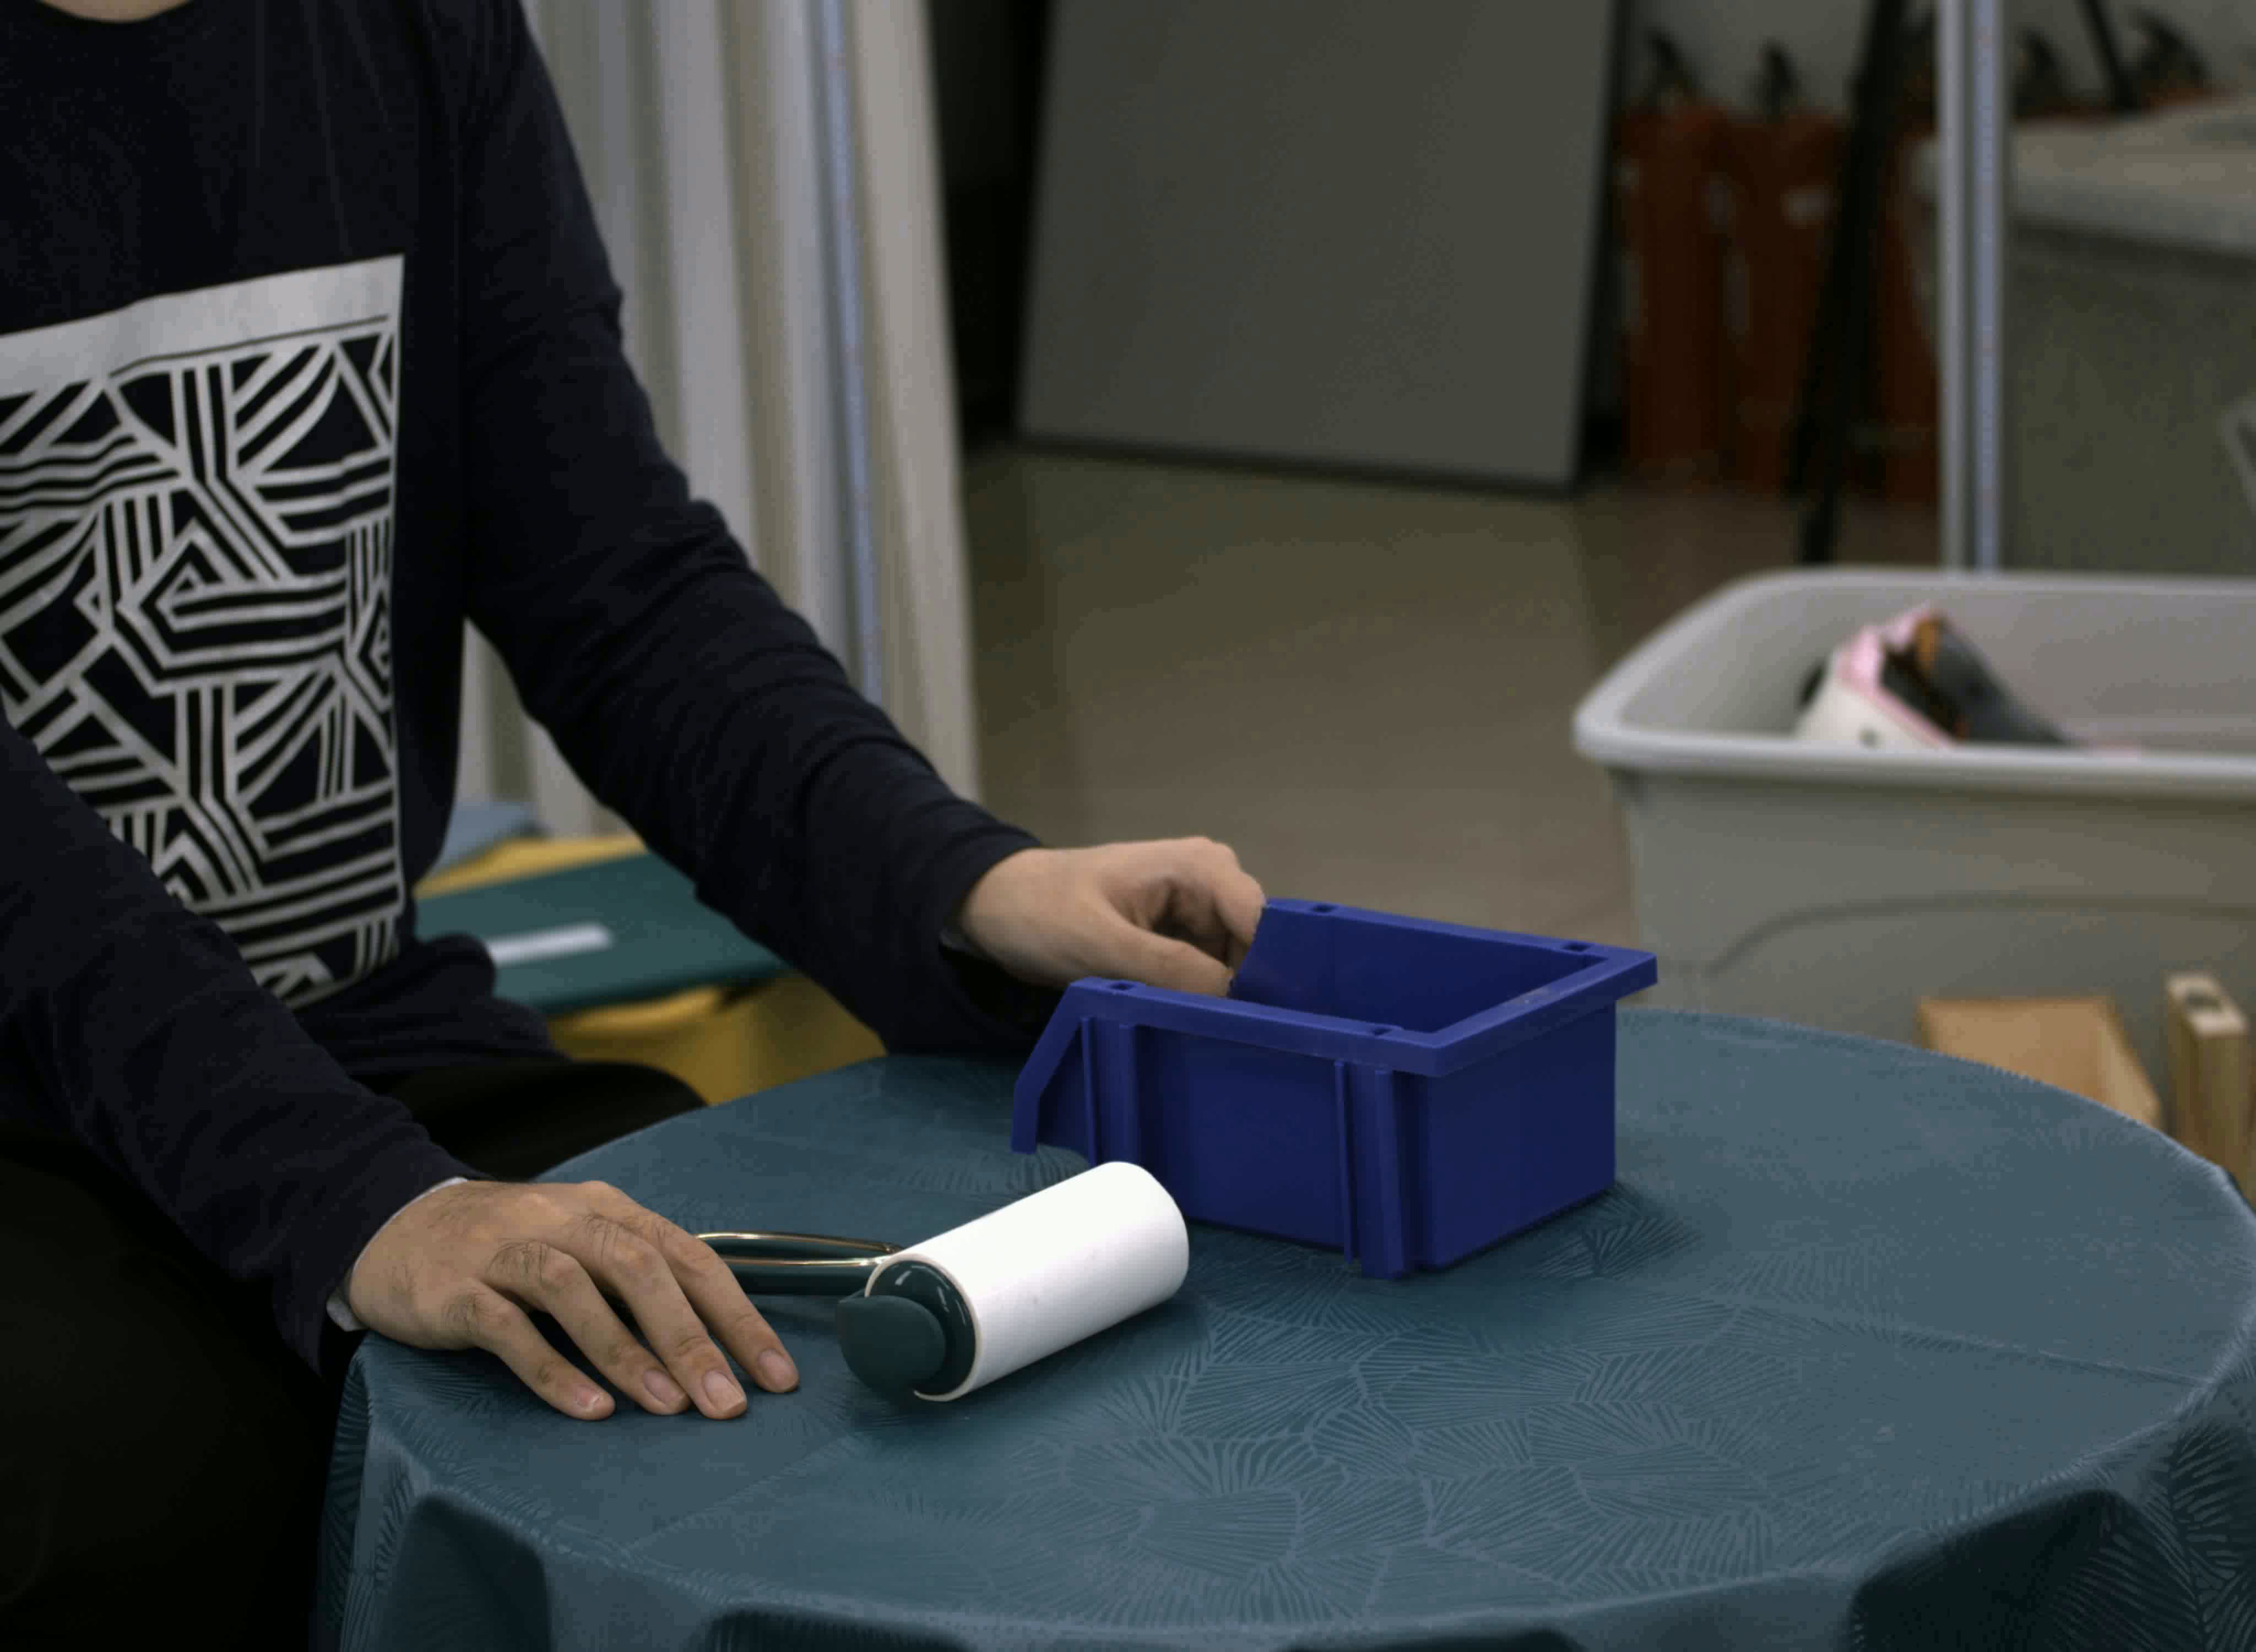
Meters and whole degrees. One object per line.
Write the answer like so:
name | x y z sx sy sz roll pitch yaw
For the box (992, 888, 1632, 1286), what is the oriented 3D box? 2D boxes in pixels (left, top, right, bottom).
box | 0.057 0.081 1.749 0.181 0.083 0.122 11 21 41

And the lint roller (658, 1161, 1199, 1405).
lint roller | -0.081 0.135 1.664 0.181 0.049 0.132 2 14 41
